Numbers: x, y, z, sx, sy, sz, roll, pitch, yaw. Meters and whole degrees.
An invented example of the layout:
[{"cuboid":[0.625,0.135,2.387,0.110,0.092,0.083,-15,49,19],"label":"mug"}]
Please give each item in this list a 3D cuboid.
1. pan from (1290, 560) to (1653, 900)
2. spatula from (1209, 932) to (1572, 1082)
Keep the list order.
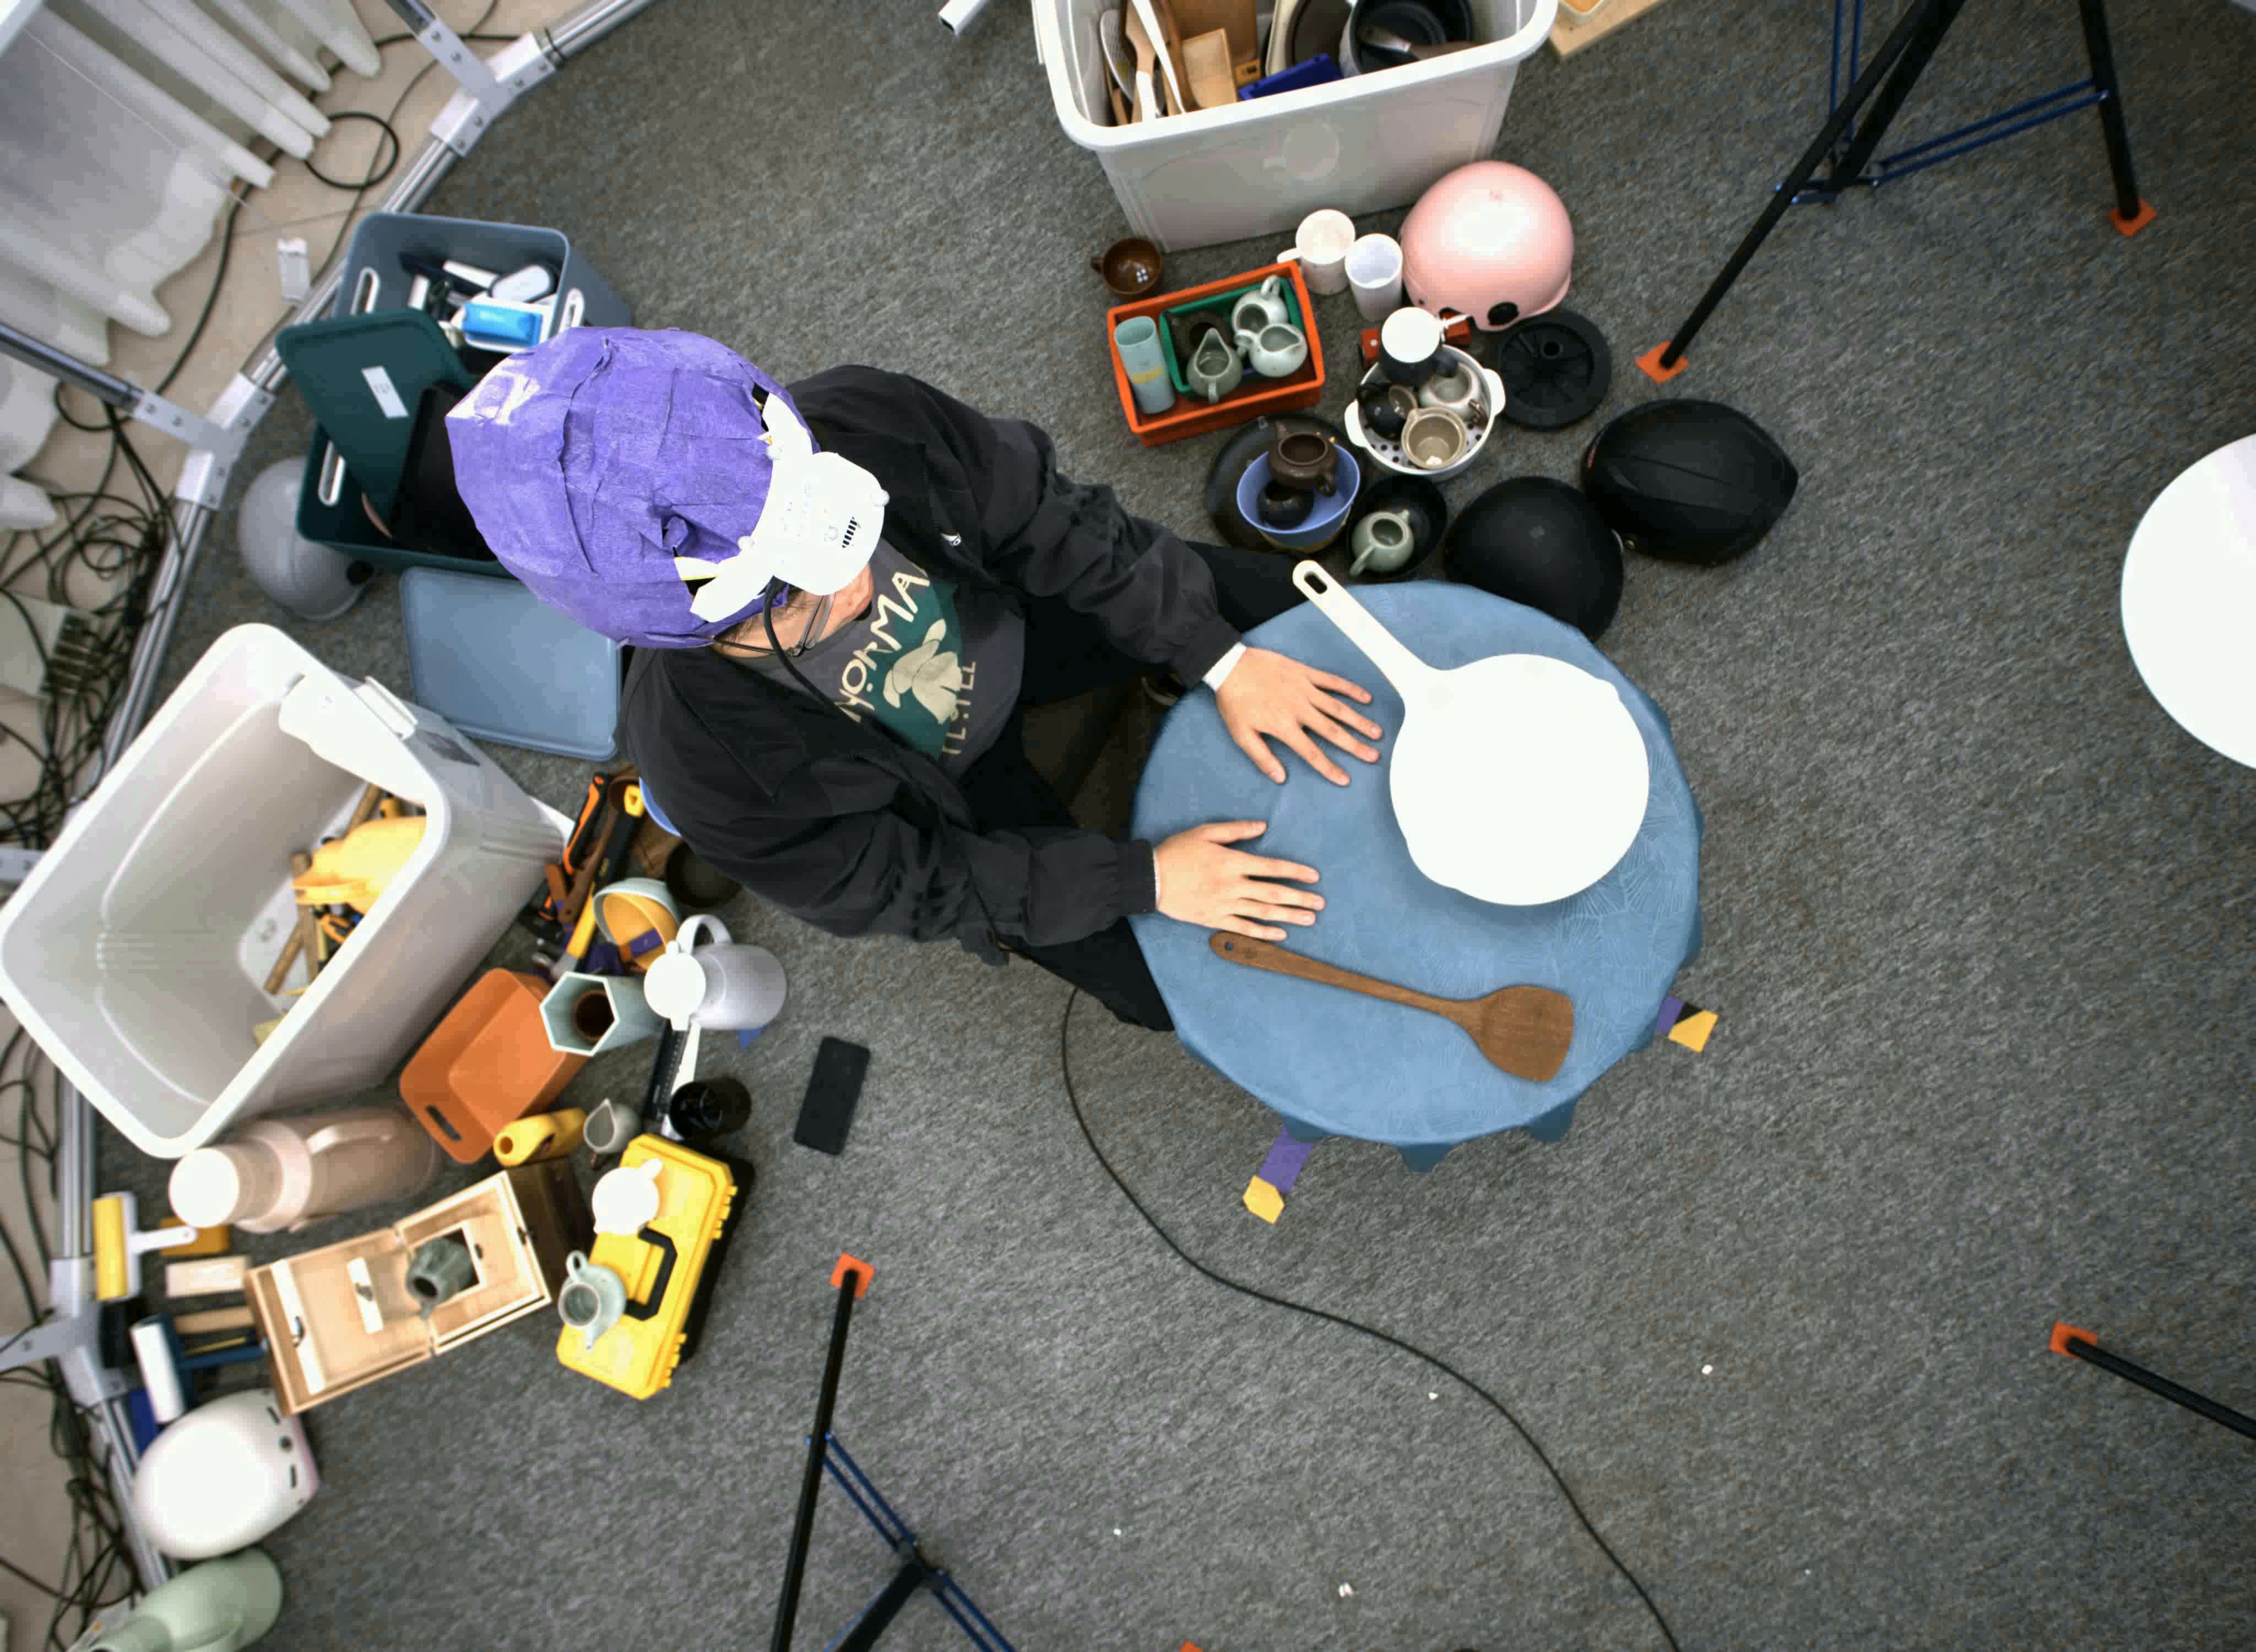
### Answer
[{"cuboid":[0.332,-0.115,1.404,0.433,0.102,0.265,45,97,9],"label":"pan"},{"cuboid":[0.269,0.171,1.446,0.386,0.016,0.096,15,89,11],"label":"spatula"}]
